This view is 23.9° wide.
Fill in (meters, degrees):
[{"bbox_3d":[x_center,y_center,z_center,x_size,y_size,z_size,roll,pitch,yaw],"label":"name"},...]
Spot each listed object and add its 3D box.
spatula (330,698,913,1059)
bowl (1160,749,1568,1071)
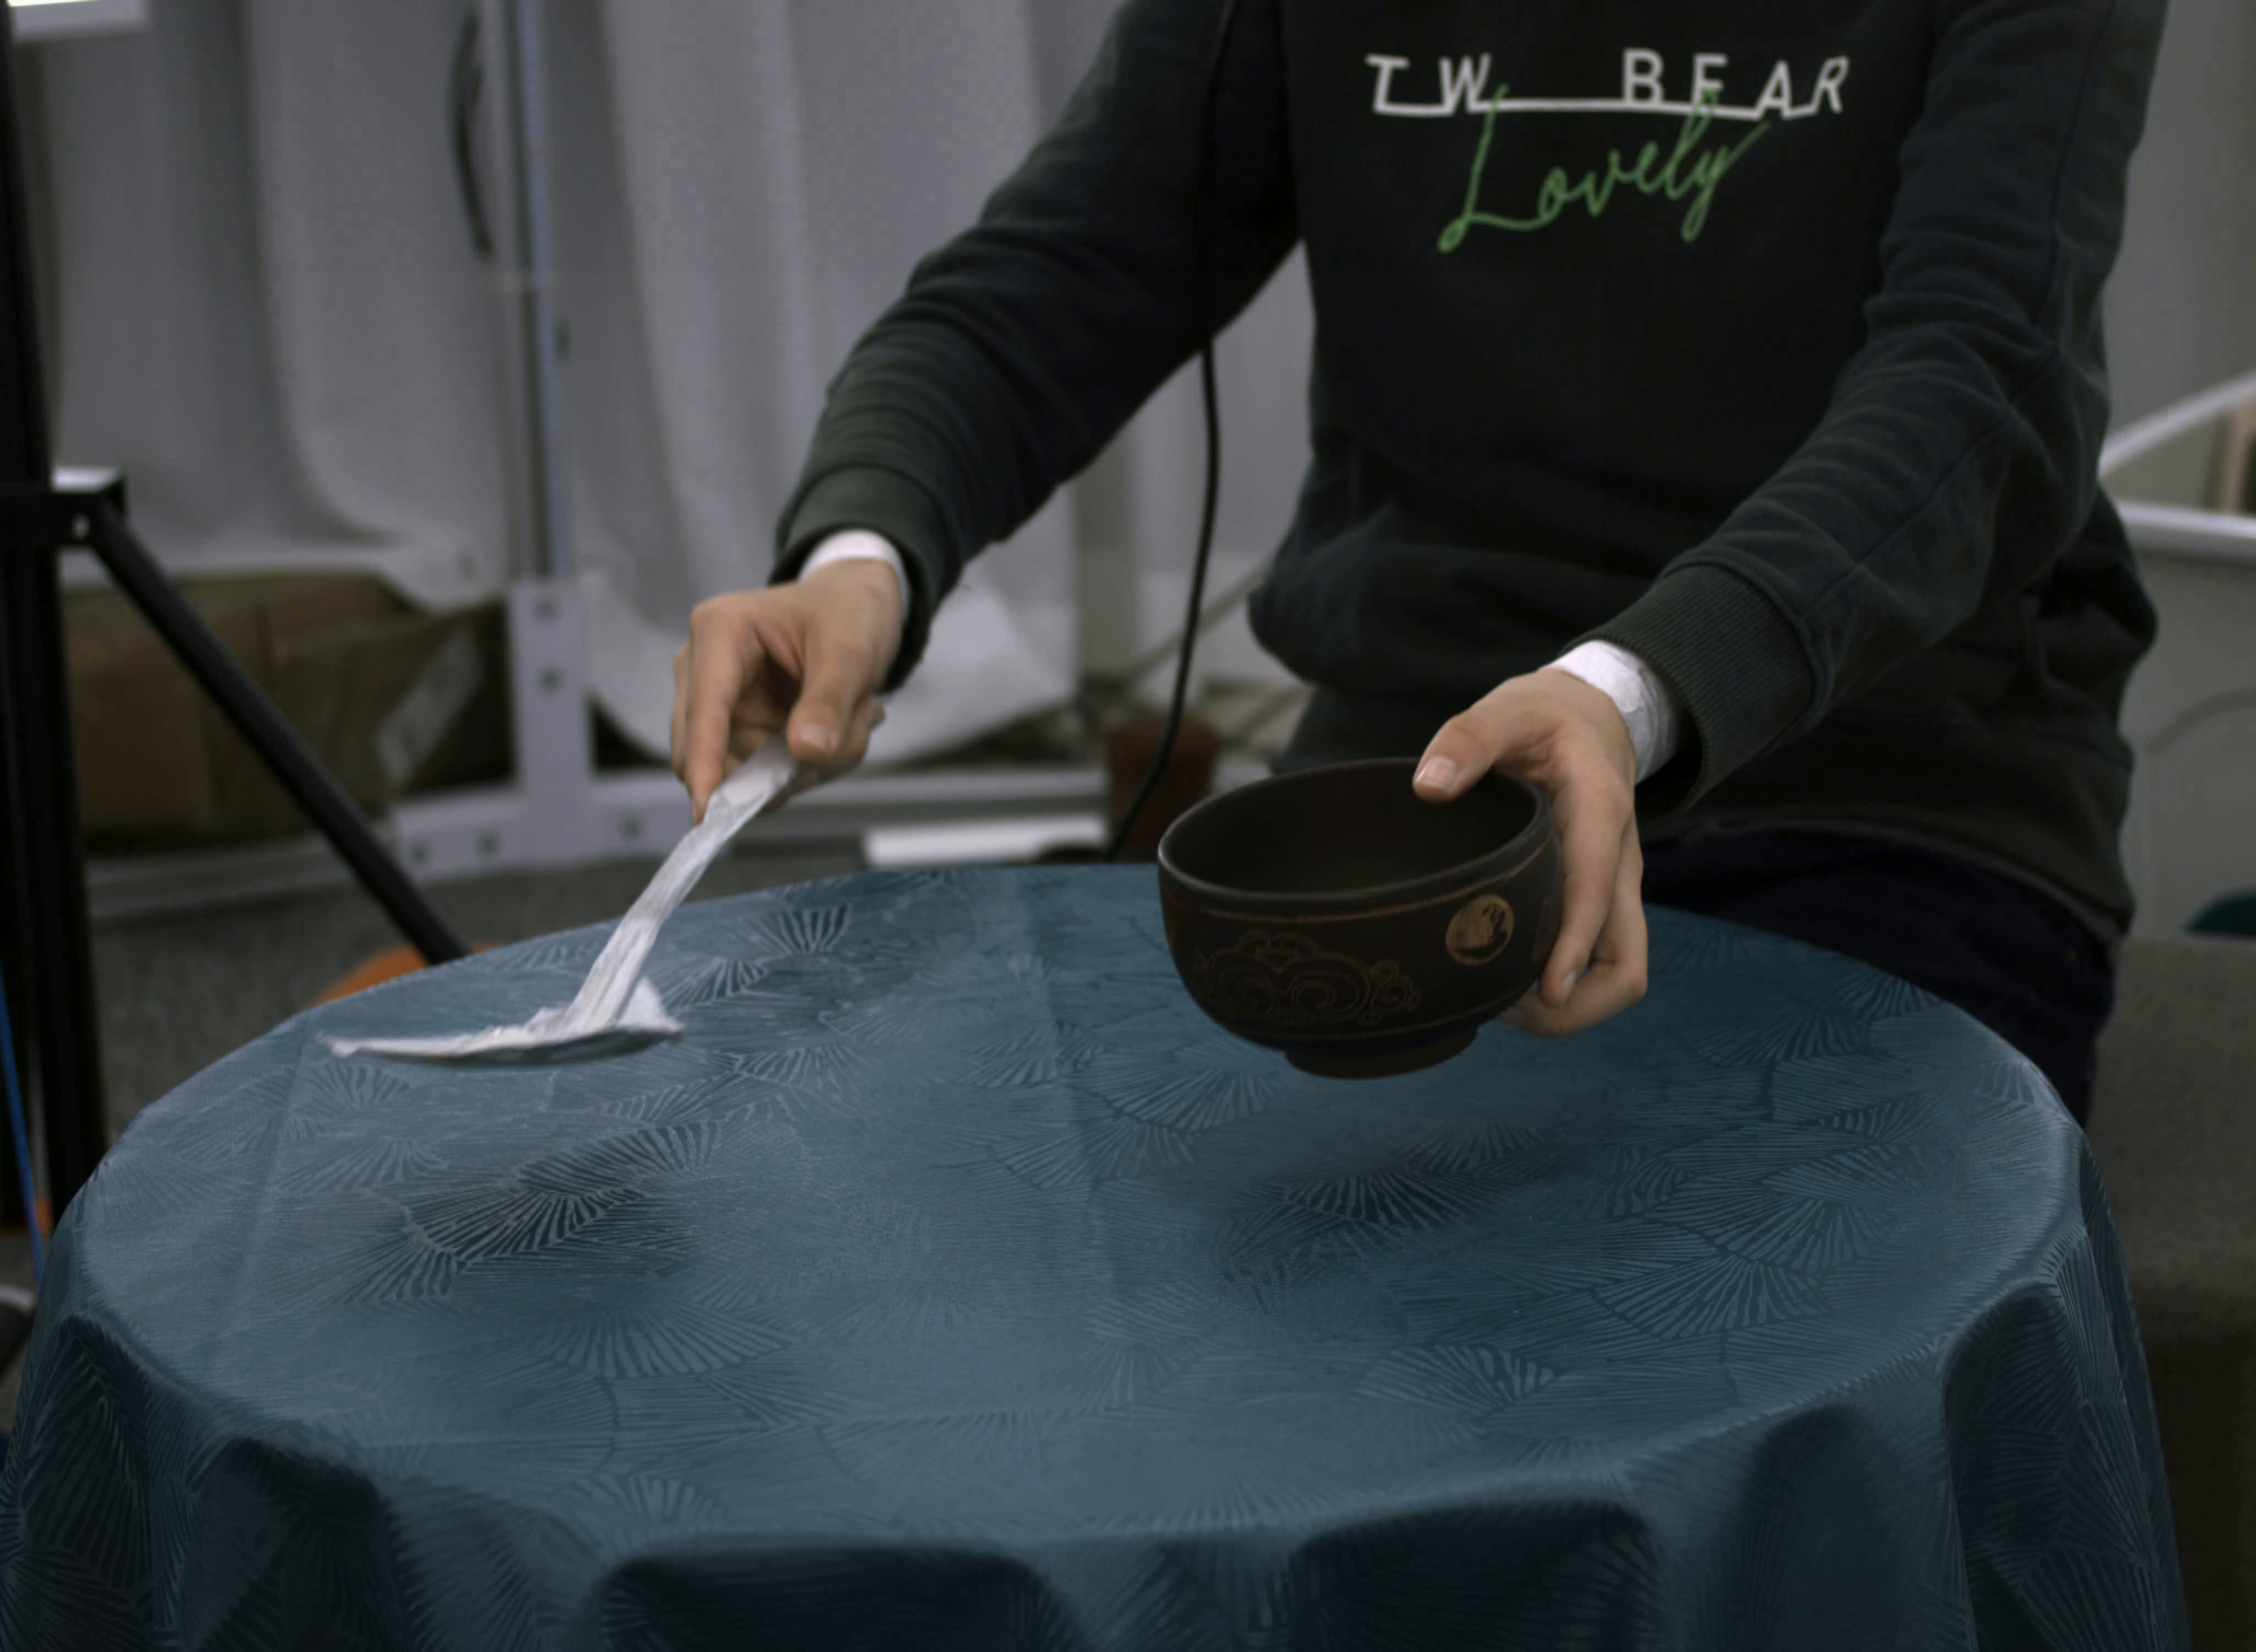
[{"bbox_3d":[-0.137,0.009,1.670,0.100,0.044,0.362,-5,21,19],"label":"spatula"},{"bbox_3d":[0.070,0.029,1.539,0.117,0.070,0.119,-7,18,1],"label":"bowl"}]
